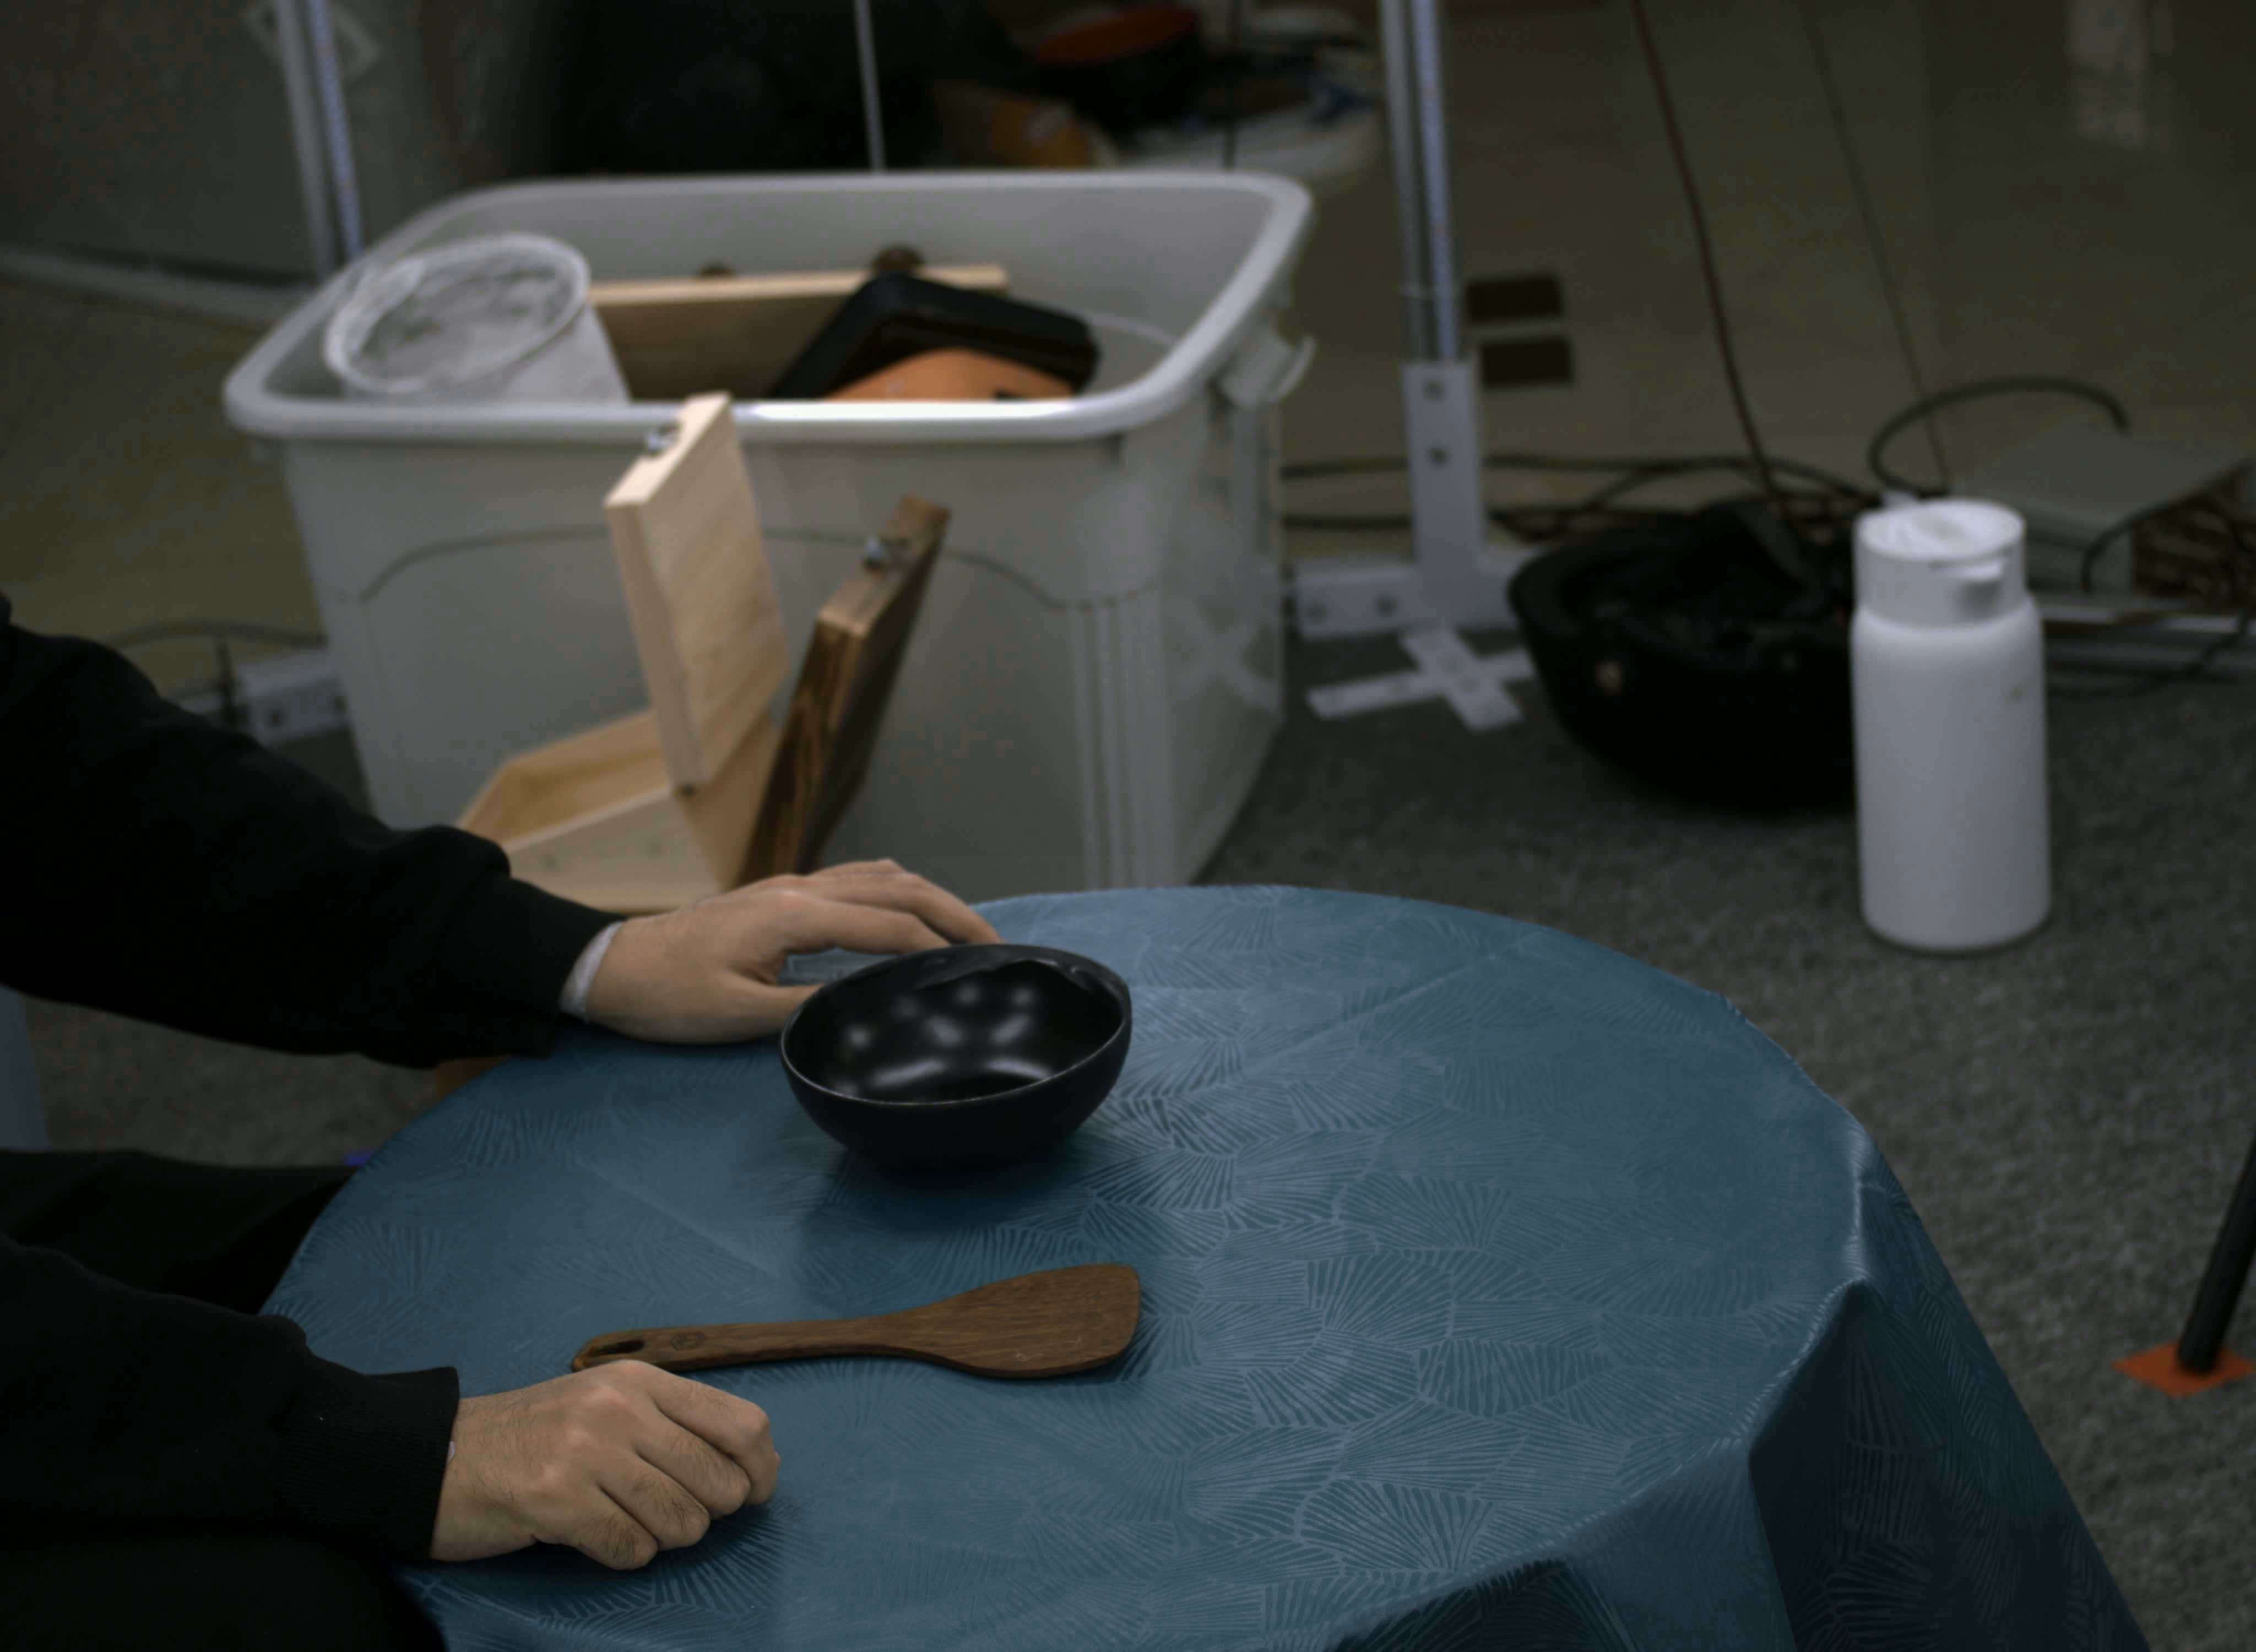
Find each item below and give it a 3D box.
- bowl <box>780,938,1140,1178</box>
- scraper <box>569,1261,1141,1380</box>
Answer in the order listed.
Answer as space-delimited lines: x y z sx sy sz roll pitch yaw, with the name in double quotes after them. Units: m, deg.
-0.063 0.098 2.200 0.140 0.050 0.138 -6 28 3 "bowl"
-0.100 0.186 2.067 0.211 0.011 0.075 -5 24 5 "scraper"
